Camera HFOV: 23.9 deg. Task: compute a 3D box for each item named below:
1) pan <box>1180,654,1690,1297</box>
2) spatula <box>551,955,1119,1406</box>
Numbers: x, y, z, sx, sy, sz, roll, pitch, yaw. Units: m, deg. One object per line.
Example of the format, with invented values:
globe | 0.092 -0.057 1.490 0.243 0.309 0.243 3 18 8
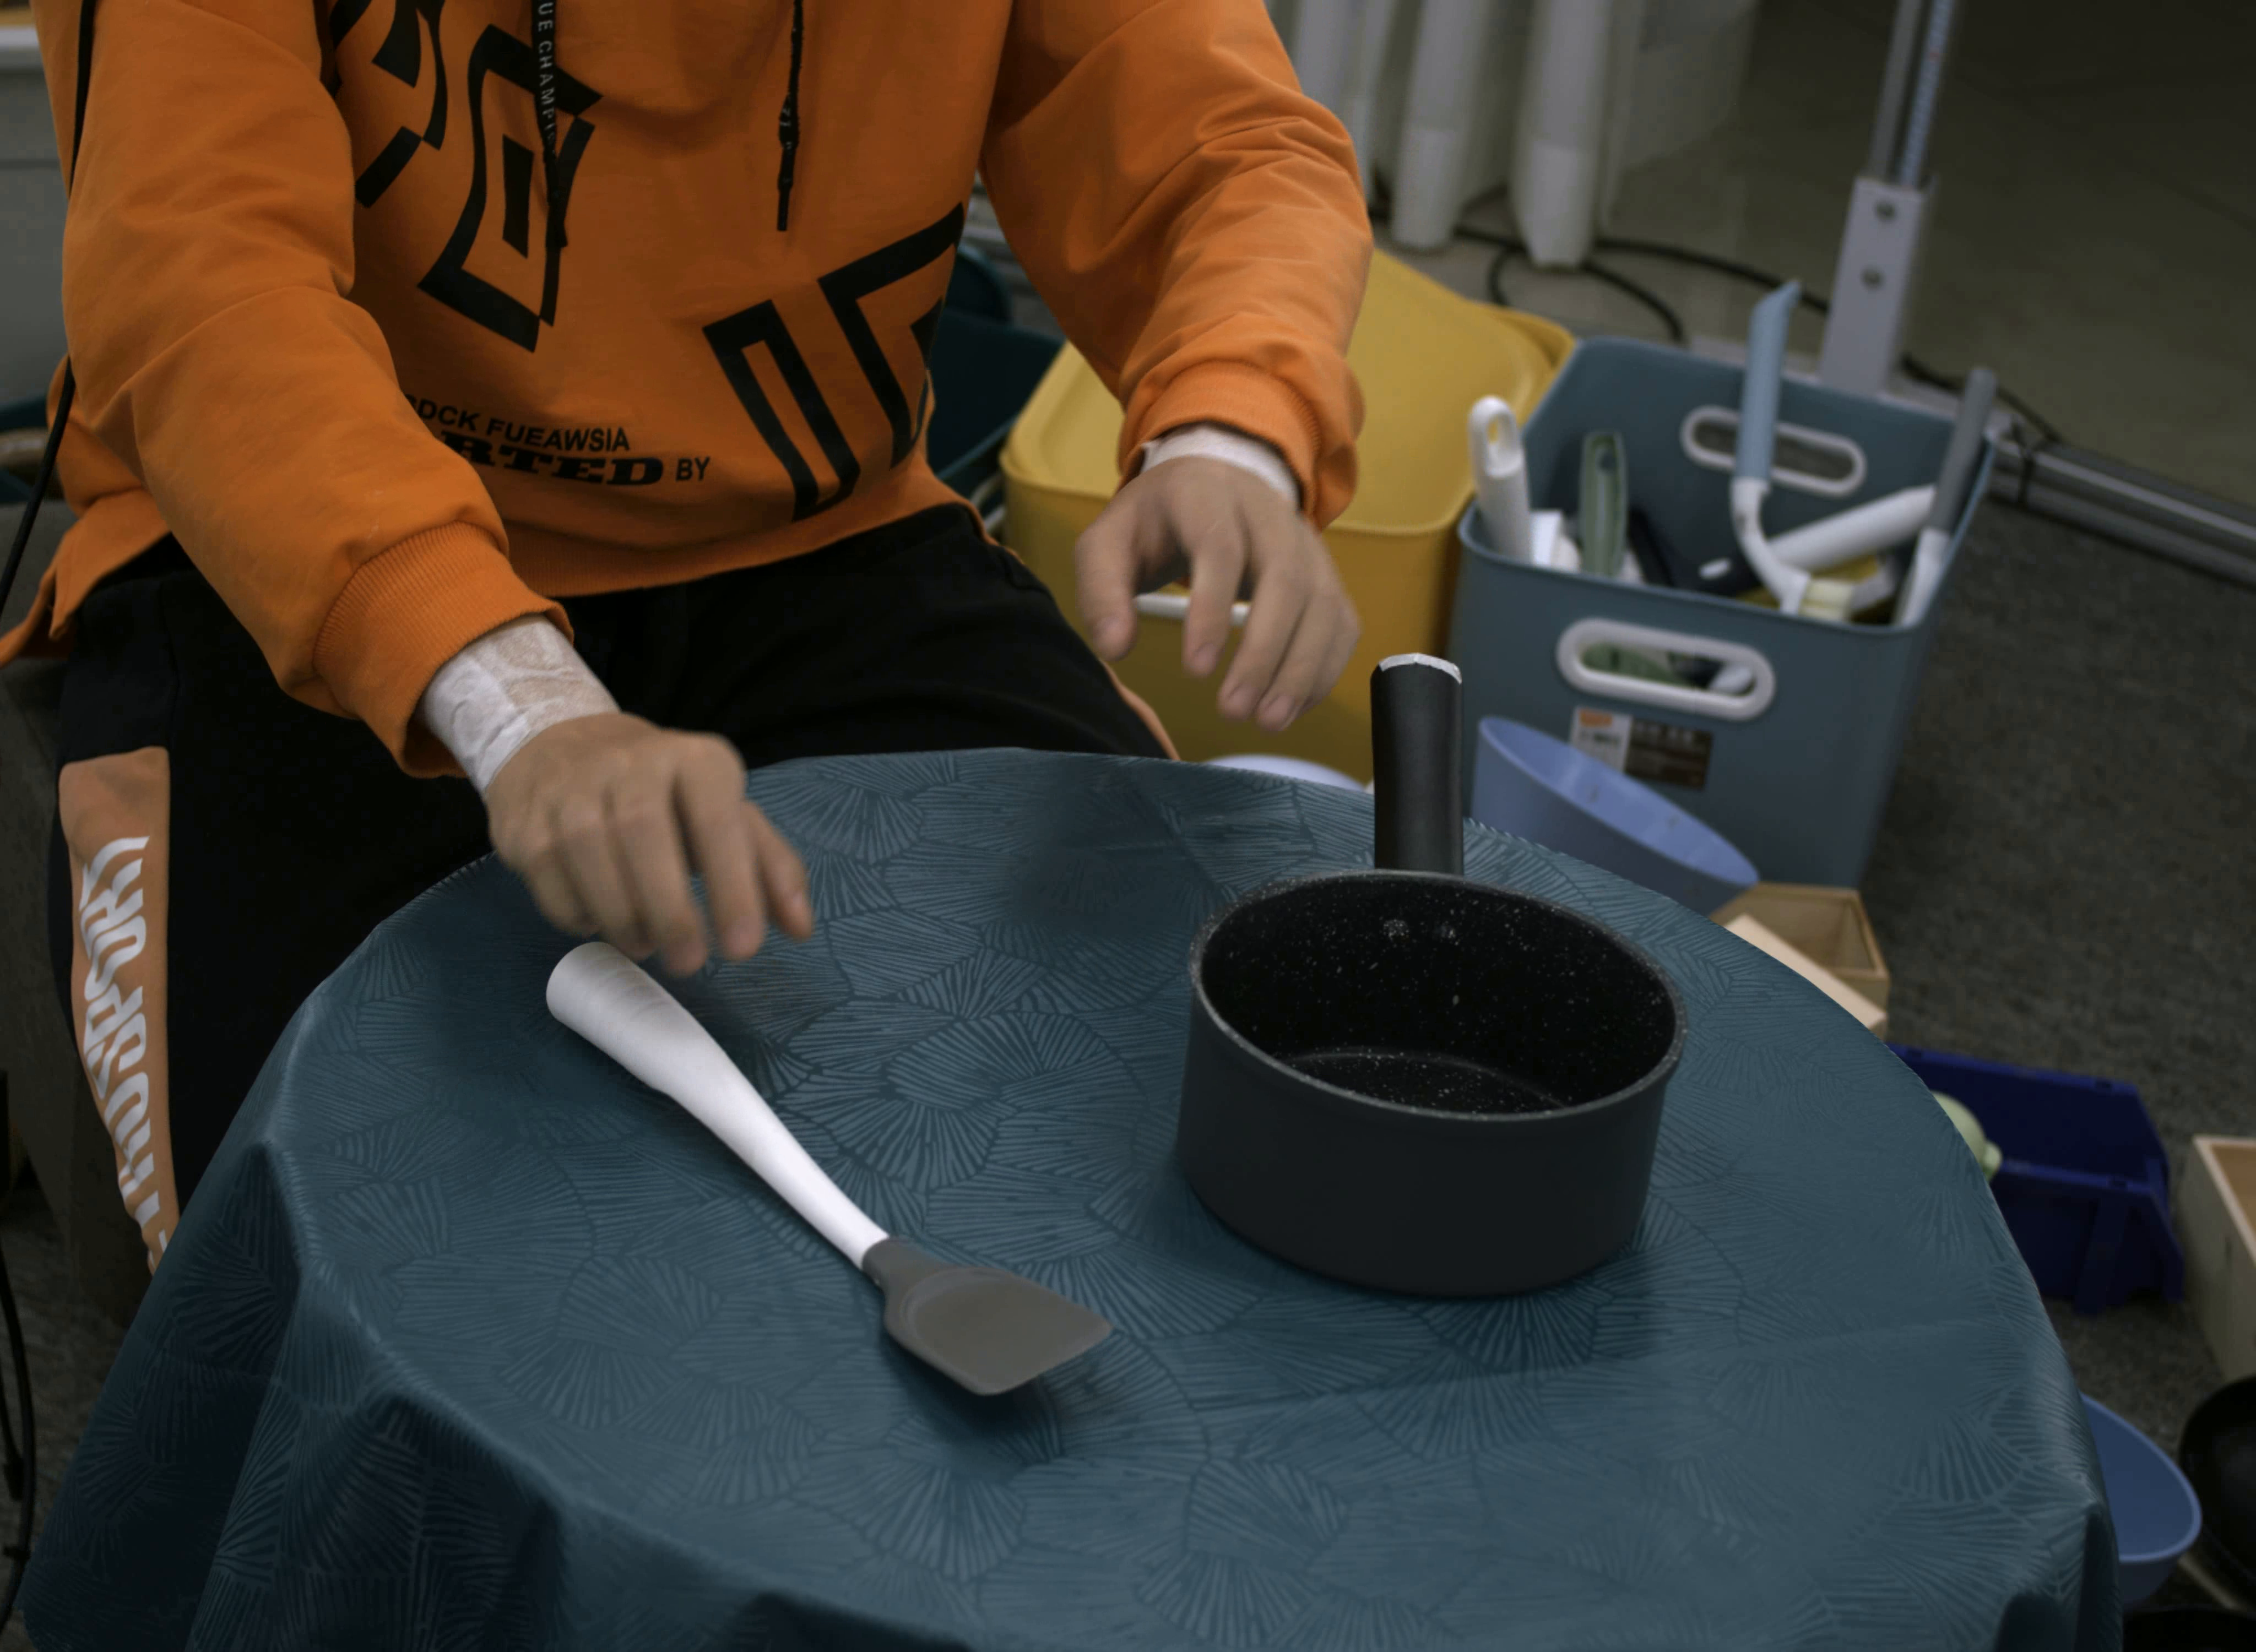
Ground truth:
pan | 0.106 0.048 1.881 0.171 0.086 0.330 8 28 0
spatula | -0.104 0.118 1.757 0.058 0.032 0.290 -22 37 -29
